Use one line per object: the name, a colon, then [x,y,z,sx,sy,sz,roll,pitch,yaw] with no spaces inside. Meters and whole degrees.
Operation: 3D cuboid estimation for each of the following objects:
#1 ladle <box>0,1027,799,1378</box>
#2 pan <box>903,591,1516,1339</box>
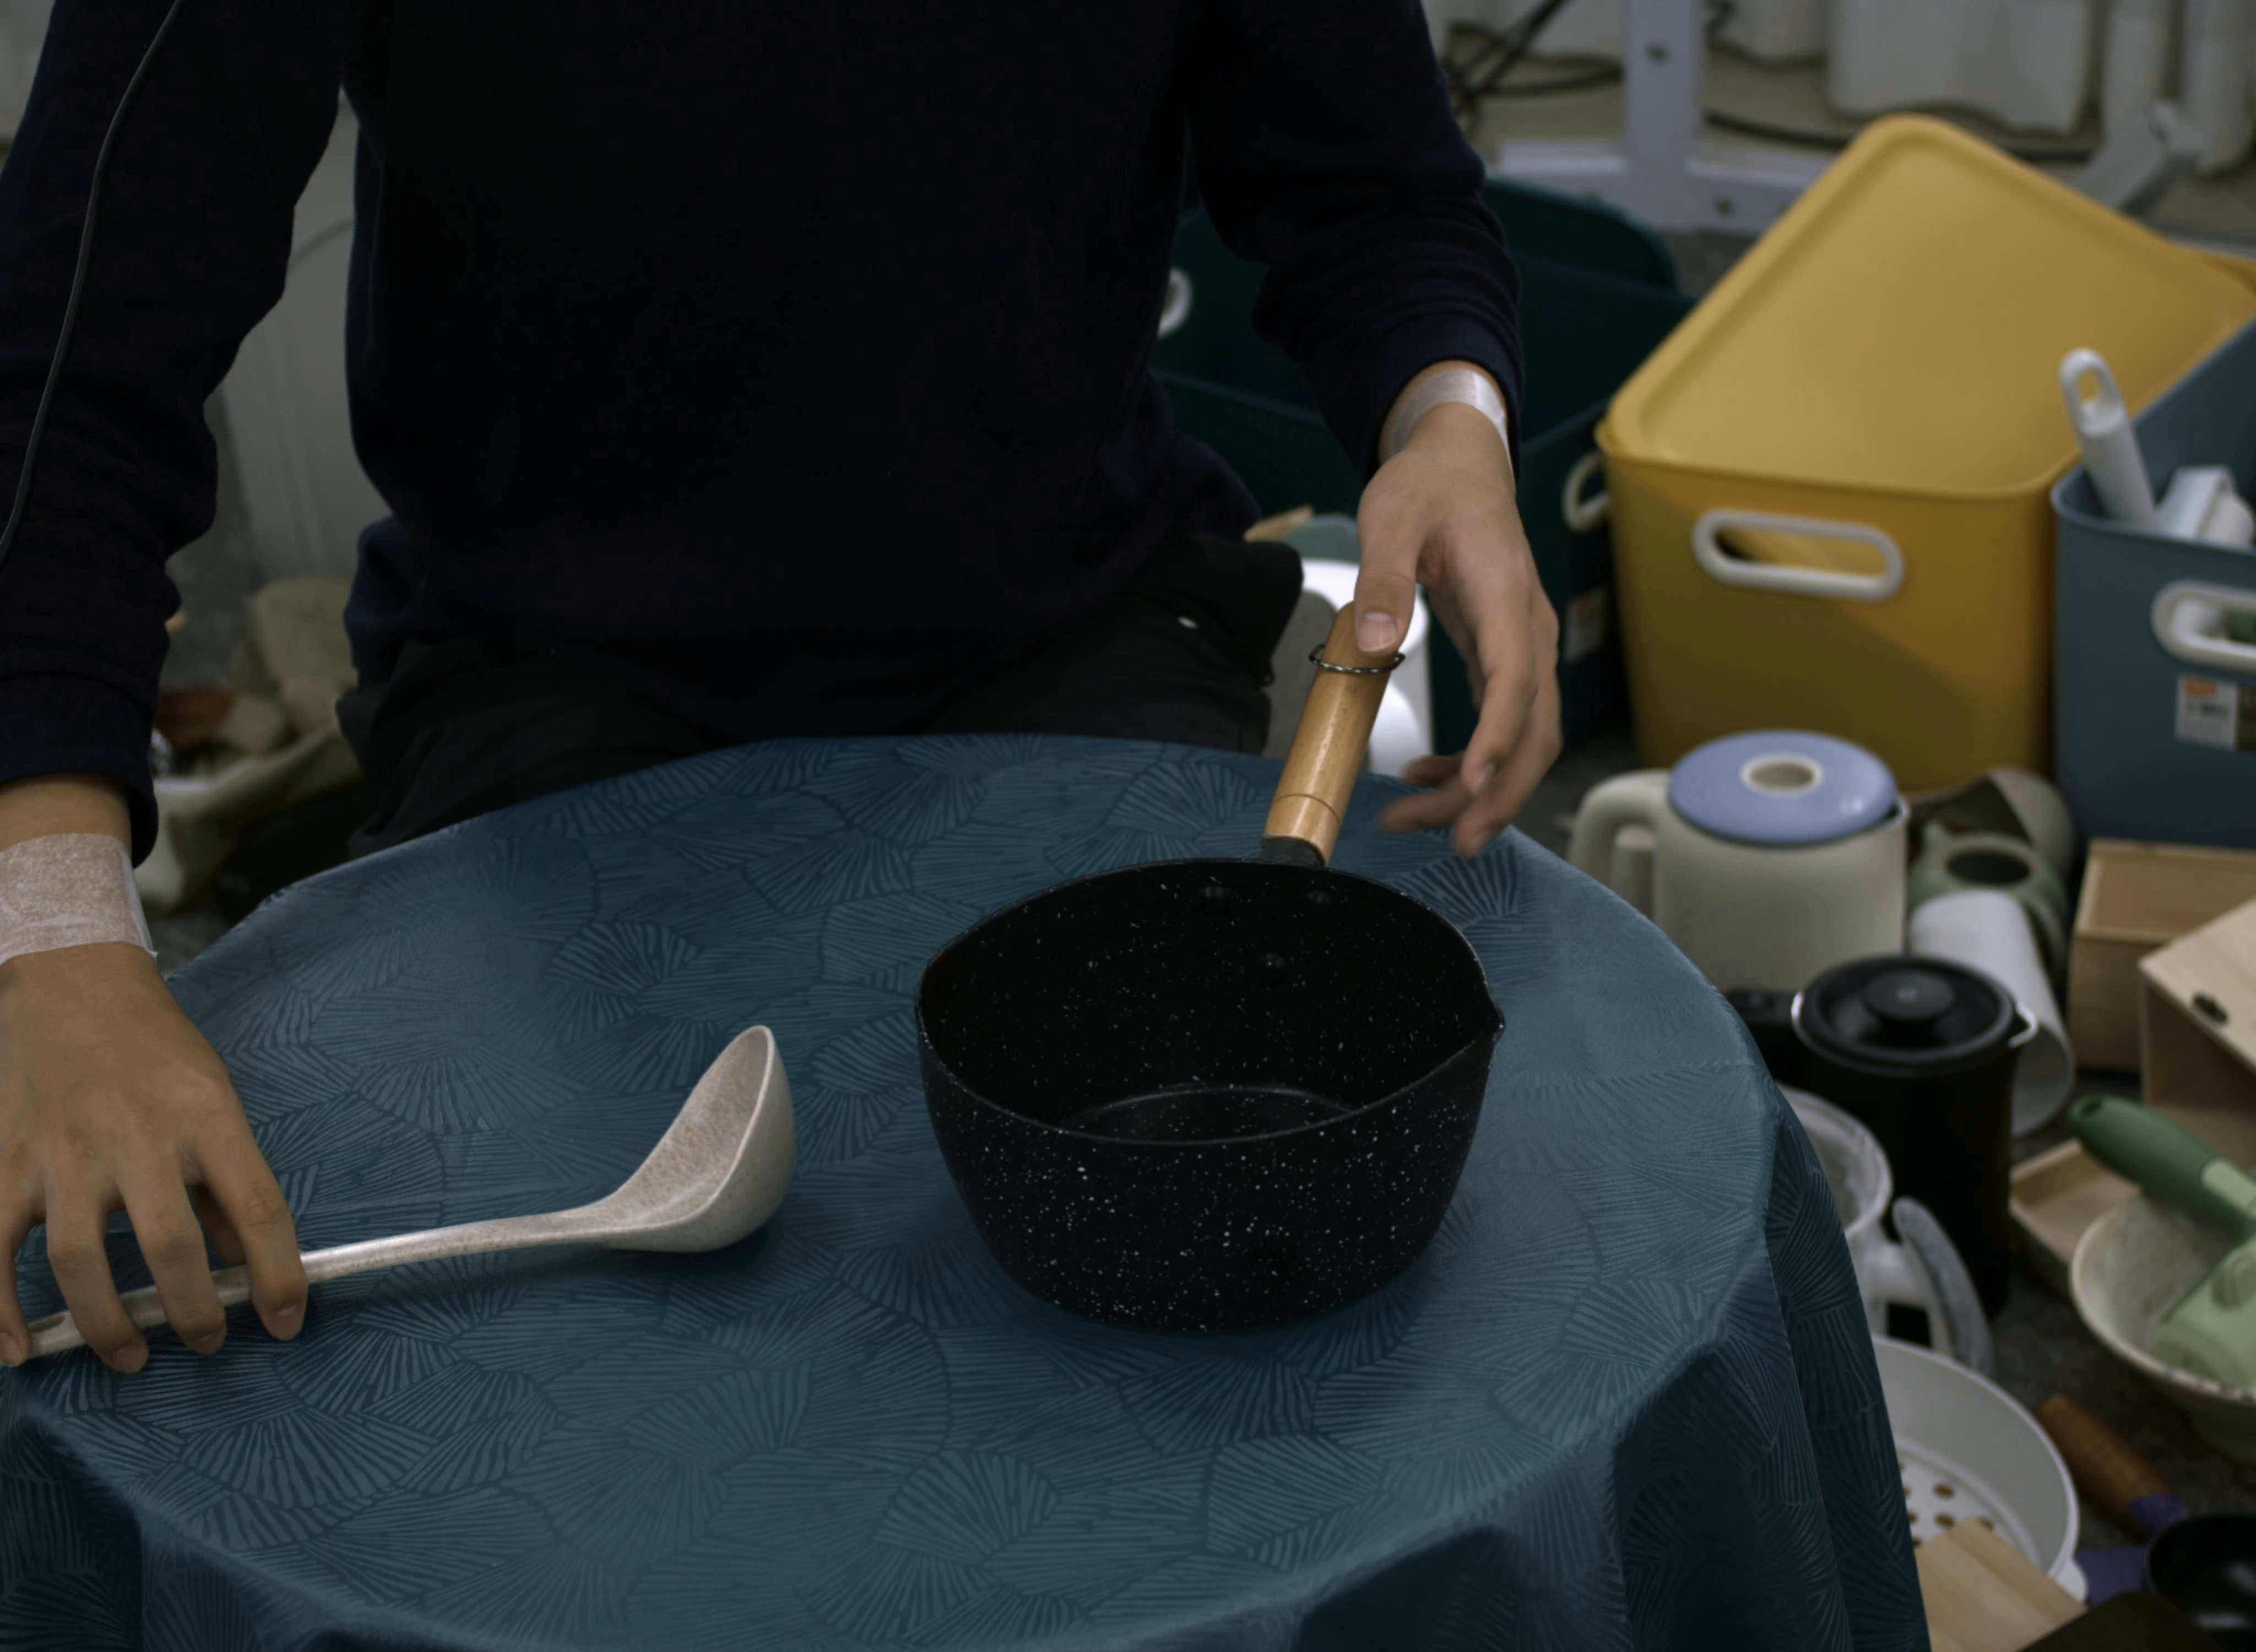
ladle: [-0.241,0.122,1.814,0.275,0.069,0.090,-9,20,-12]
pan: [0.044,0.043,1.893,0.206,0.107,0.349,3,29,14]
